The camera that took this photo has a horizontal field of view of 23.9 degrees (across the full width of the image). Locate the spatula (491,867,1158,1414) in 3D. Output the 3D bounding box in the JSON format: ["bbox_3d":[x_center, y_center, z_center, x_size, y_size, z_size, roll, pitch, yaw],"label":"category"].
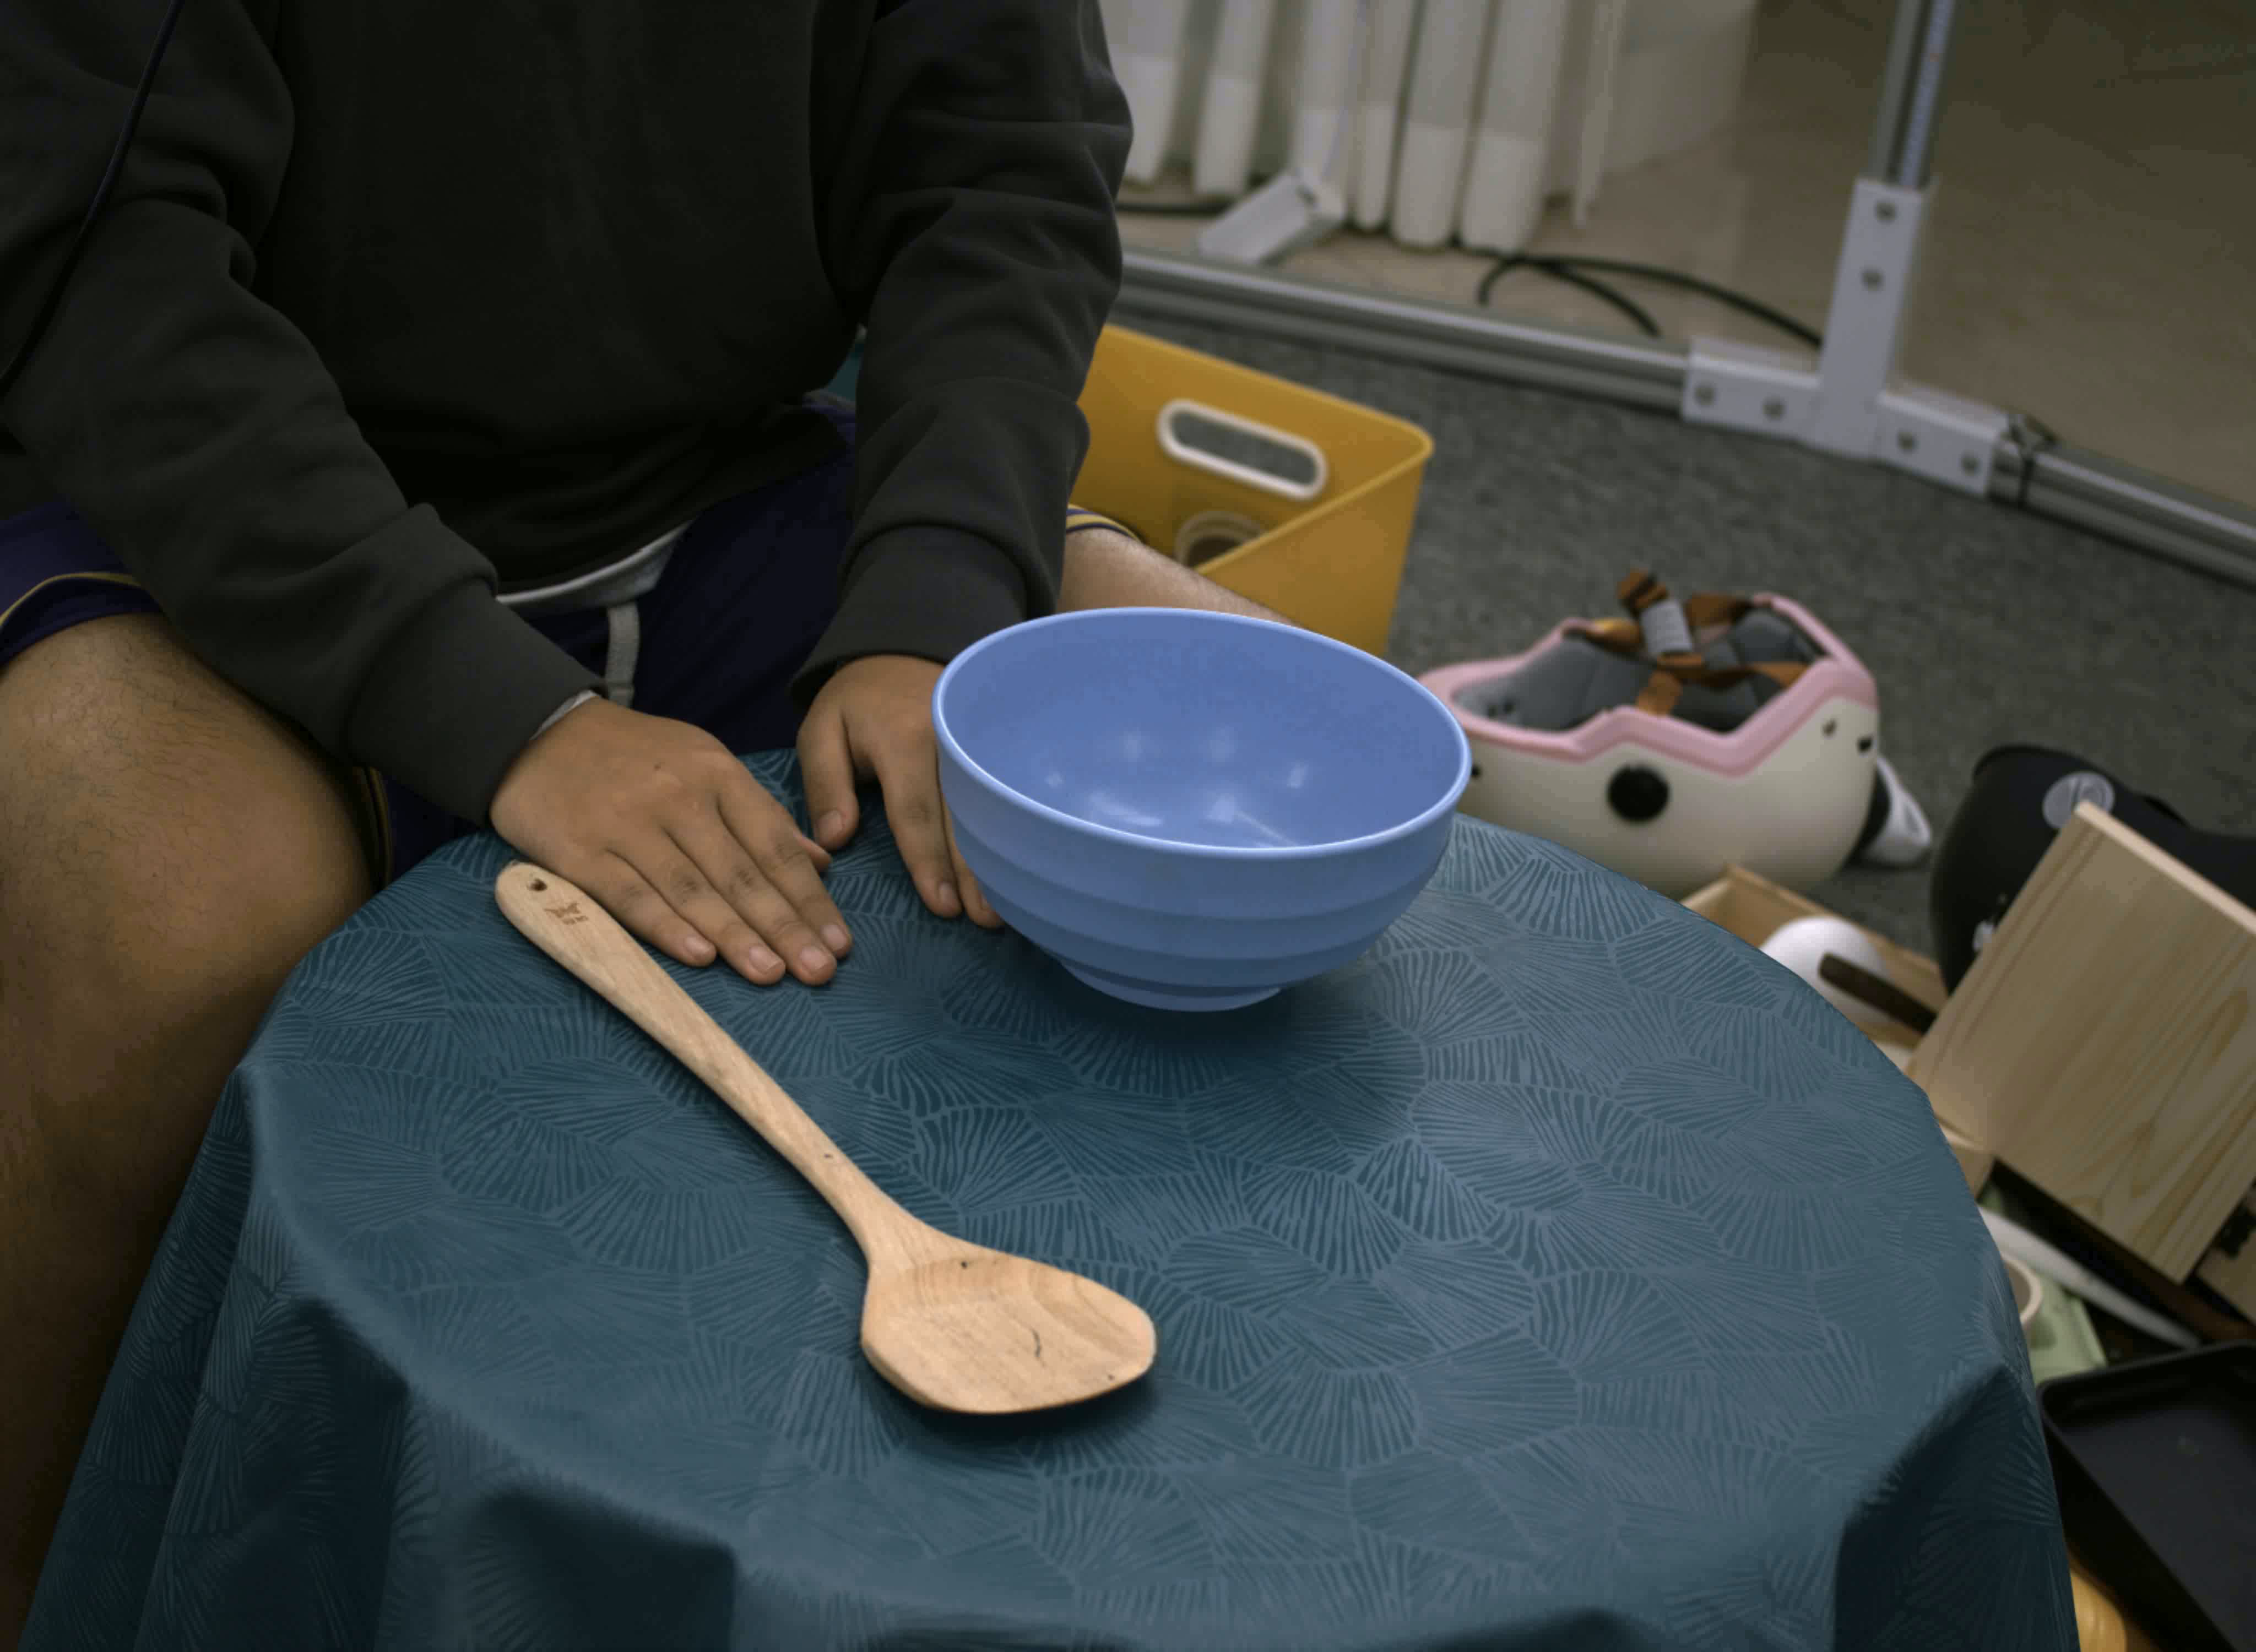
[{"bbox_3d":[-0.125,0.100,1.800,0.095,0.018,0.394,-9,31,-32],"label":"spatula"}]

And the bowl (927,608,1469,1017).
[{"bbox_3d":[0.022,0.006,1.938,0.196,0.095,0.198,4,29,-2],"label":"bowl"}]
